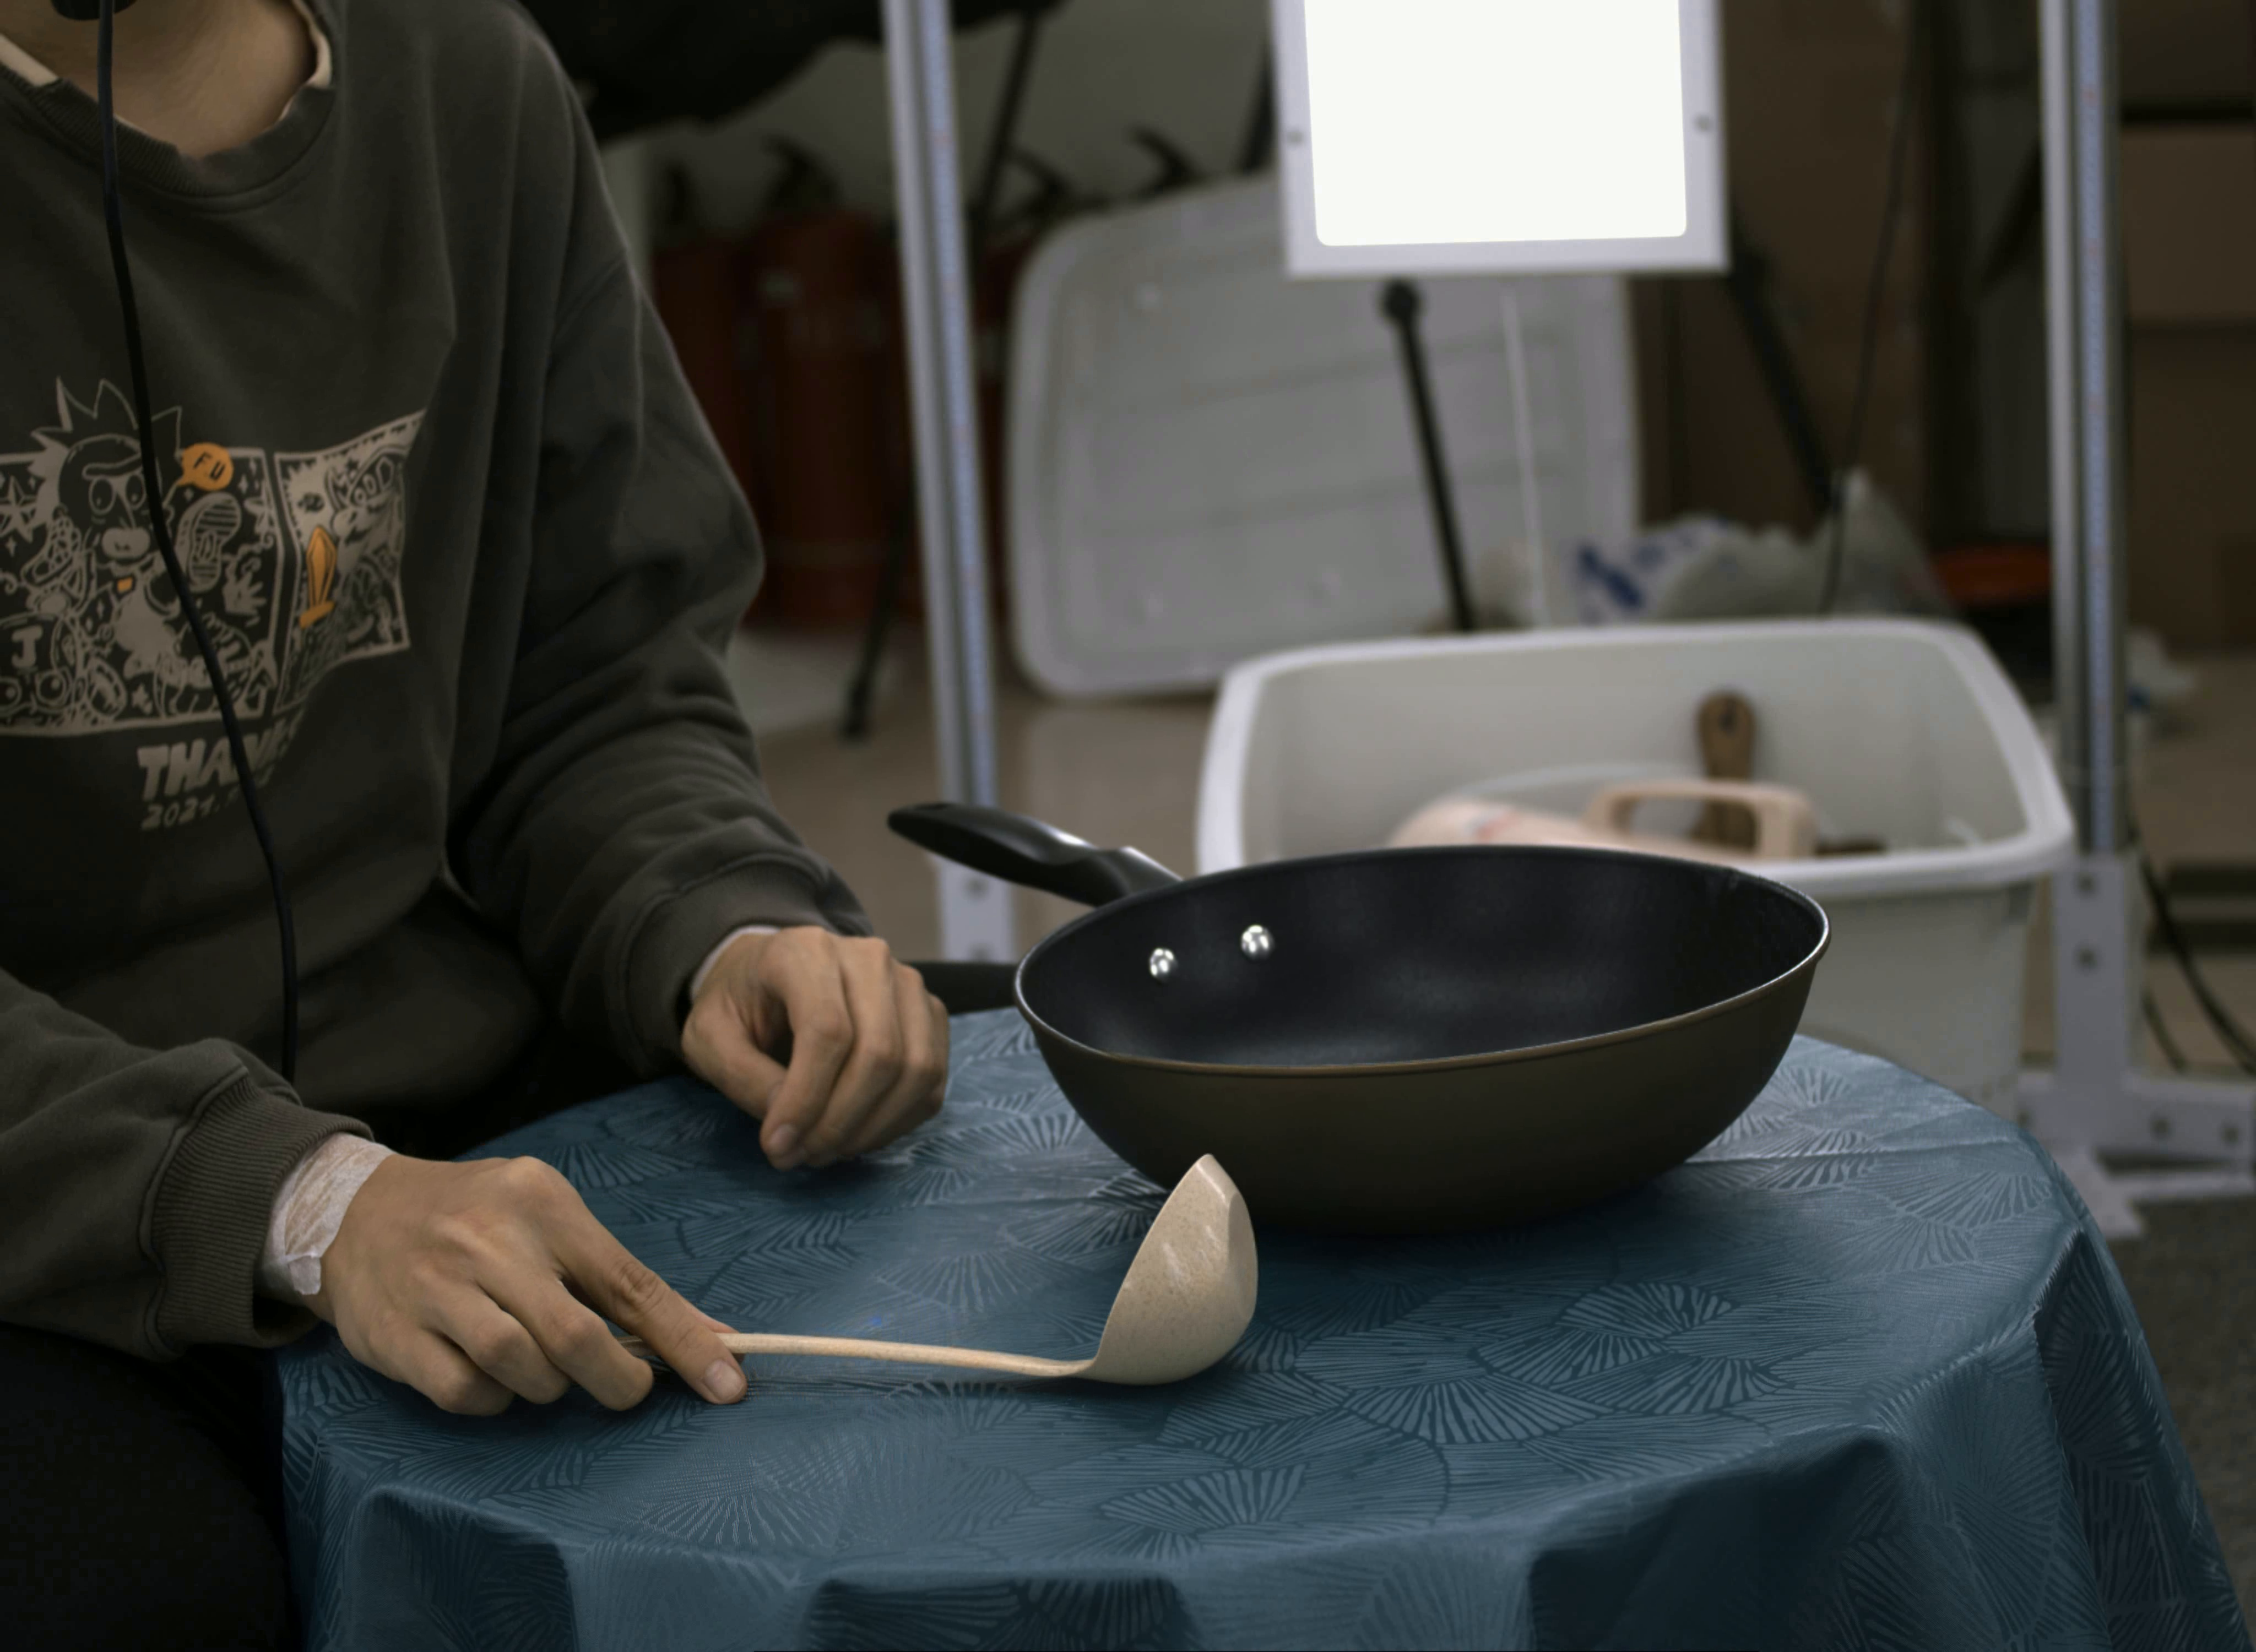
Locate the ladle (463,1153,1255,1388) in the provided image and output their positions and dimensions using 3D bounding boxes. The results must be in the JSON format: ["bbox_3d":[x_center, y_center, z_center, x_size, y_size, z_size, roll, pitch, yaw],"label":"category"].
[{"bbox_3d":[-0.087,0.138,1.724,0.256,0.073,0.071,0,4,13],"label":"ladle"}]

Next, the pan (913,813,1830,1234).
[{"bbox_3d":[0.050,0.065,1.955,0.281,0.087,0.472,-14,15,-31],"label":"pan"}]
